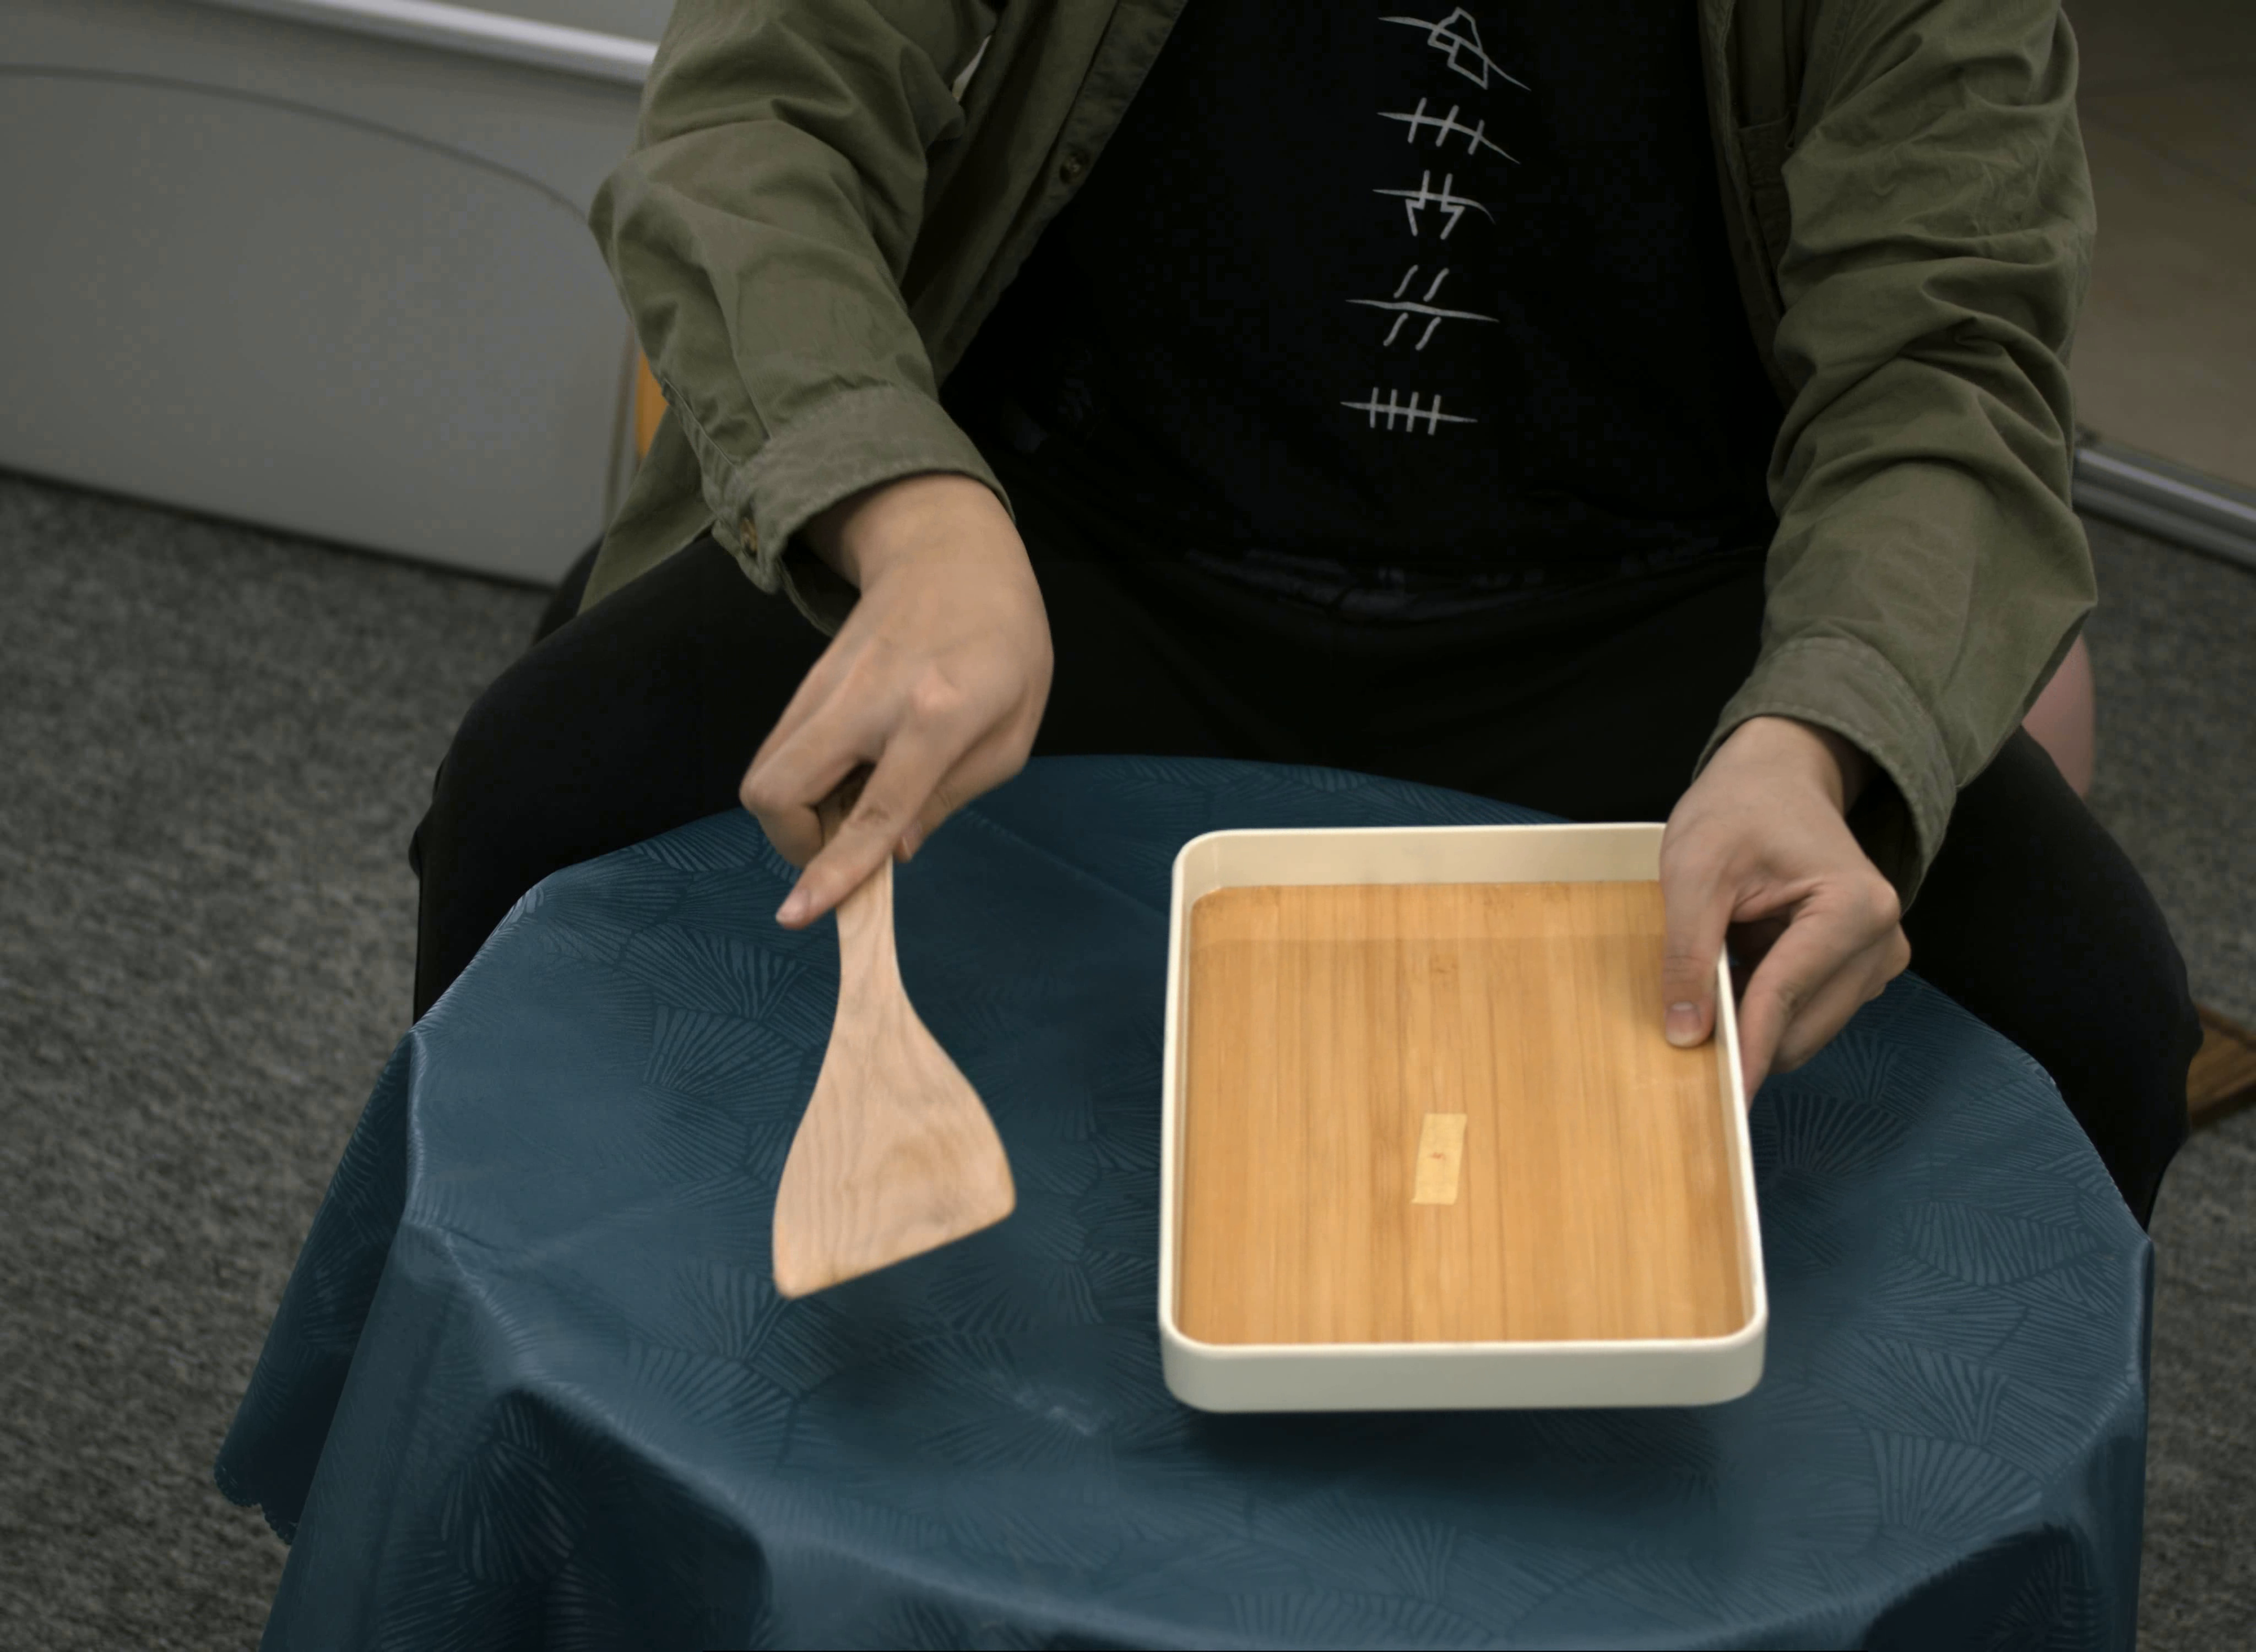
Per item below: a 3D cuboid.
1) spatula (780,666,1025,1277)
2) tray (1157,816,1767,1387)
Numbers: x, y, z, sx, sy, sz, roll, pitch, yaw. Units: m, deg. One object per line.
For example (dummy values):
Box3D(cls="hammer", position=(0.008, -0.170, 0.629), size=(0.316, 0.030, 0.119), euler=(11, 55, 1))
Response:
Box3D(cls="spatula", position=(-0.087, 0.038, 1.772), size=(0.080, 0.016, 0.330), euler=(-16, 37, 3))
Box3D(cls="tray", position=(0.108, 0.086, 1.769), size=(0.191, 0.027, 0.302), euler=(-1, 31, 3))
